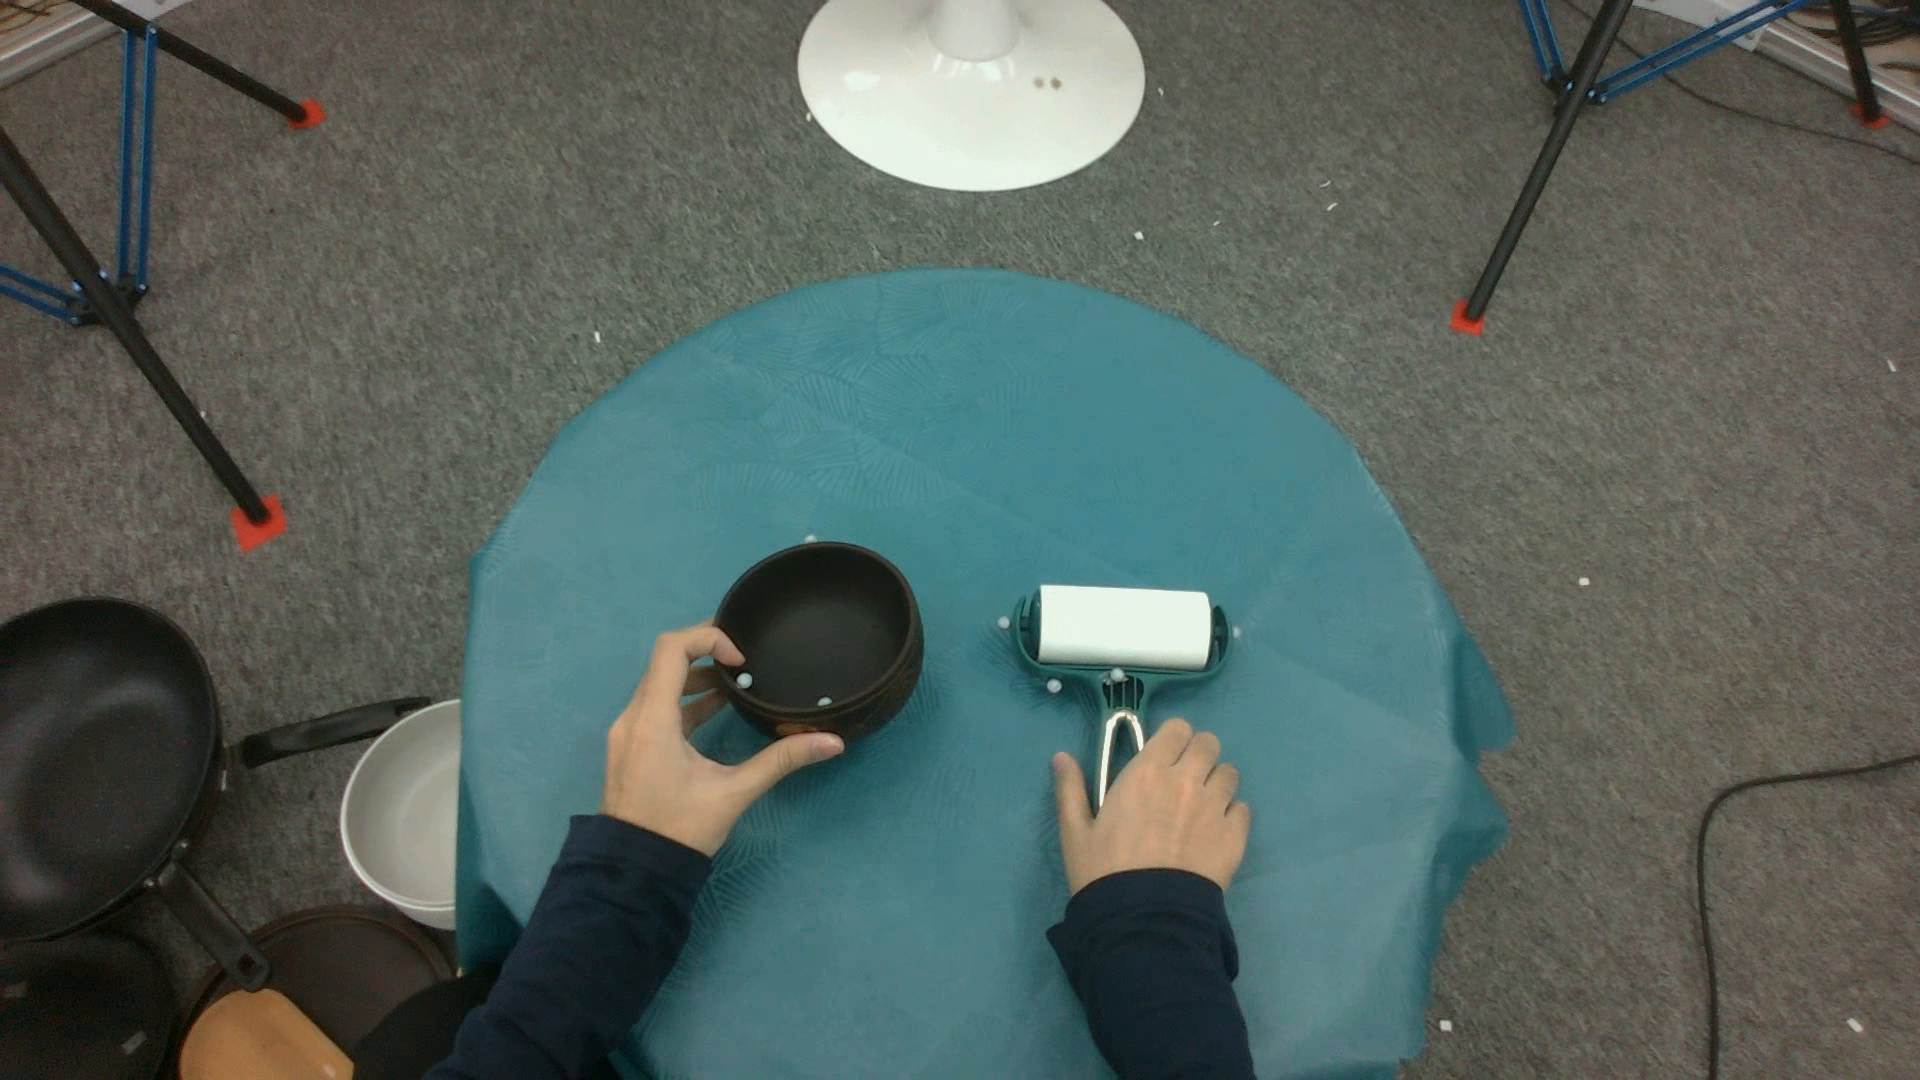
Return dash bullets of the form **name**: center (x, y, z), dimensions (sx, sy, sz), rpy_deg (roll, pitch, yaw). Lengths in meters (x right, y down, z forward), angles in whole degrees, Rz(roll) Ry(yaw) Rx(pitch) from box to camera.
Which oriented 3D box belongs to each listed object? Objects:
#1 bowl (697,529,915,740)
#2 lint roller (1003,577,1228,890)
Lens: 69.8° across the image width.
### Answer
- **bowl**: center (-0.082, 0.059, 0.768), dimensions (0.118, 0.069, 0.118), rpy_deg (-3, 52, 4)
- **lint roller**: center (0.090, 0.106, 0.789), dimensions (0.134, 0.048, 0.181), rpy_deg (2, 61, -2)
